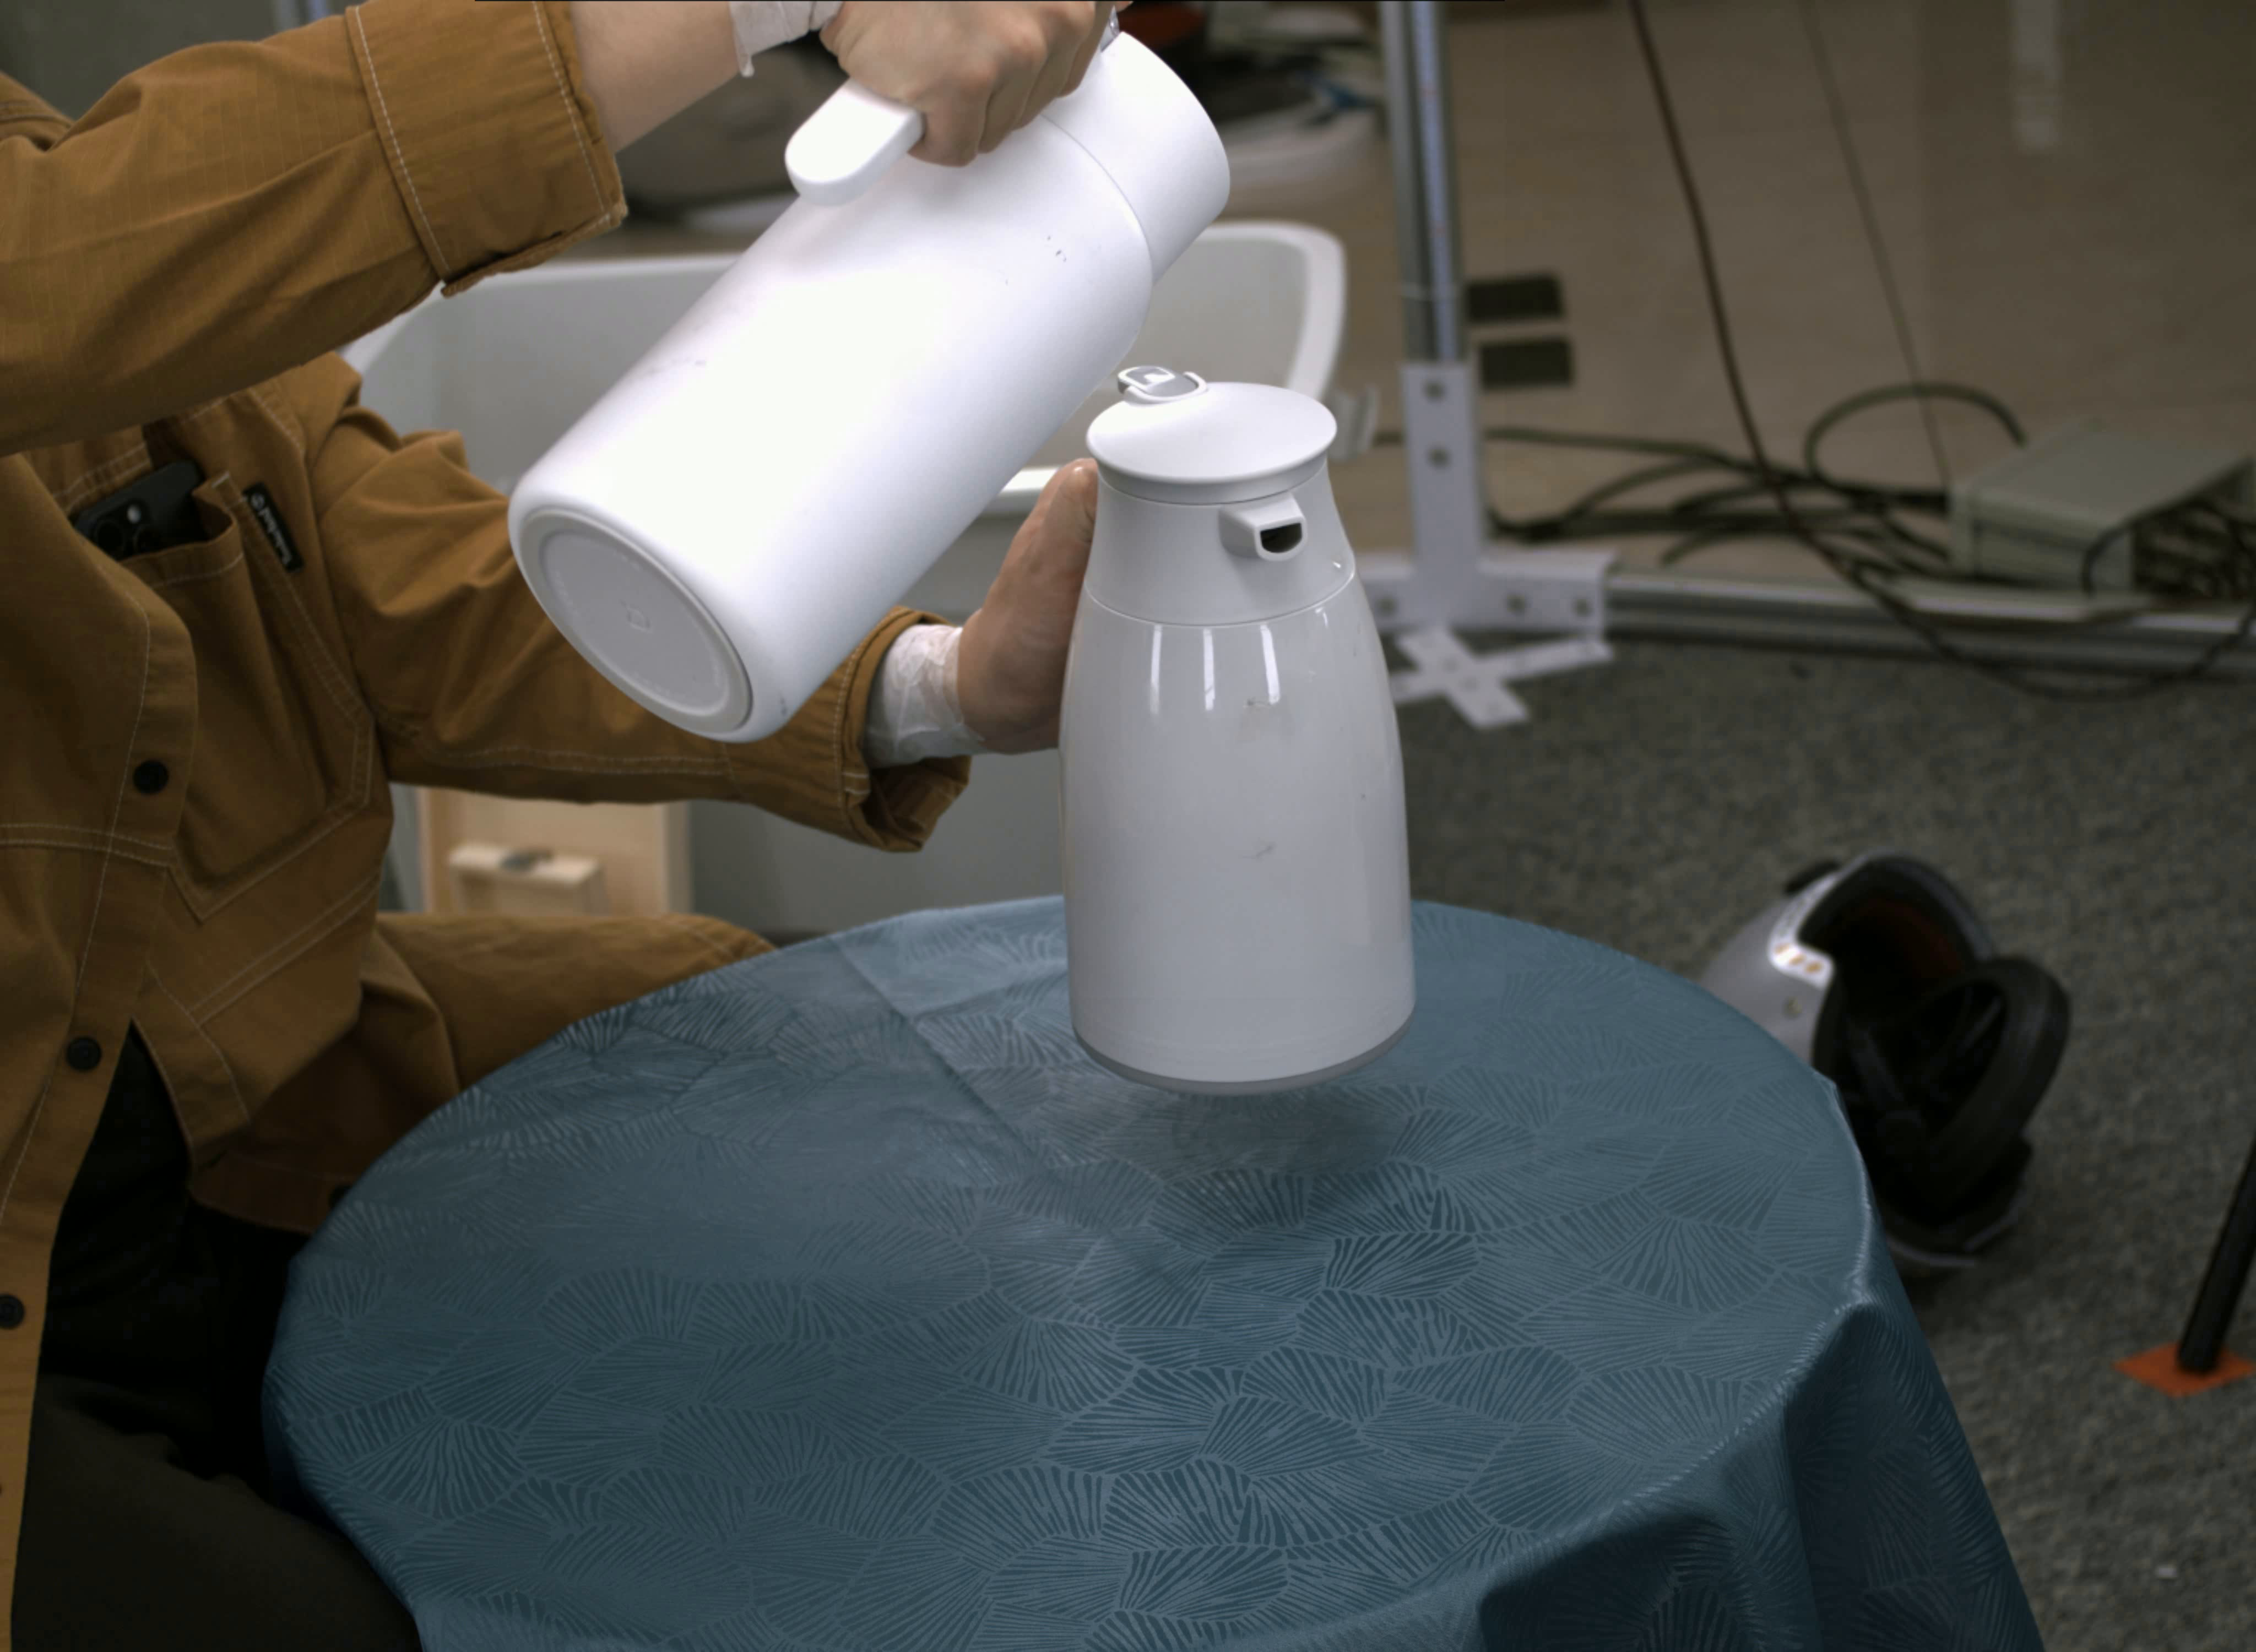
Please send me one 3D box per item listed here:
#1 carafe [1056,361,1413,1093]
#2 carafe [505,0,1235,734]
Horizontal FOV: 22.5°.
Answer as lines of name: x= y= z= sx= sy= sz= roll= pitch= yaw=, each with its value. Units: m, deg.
carafe: x=0.028 y=-0.047 z=2.113 sx=0.132 sy=0.253 sz=0.165 roll=-14 pitch=28 yaw=-19
carafe: x=-0.084 y=-0.168 z=1.880 sx=0.123 sy=0.176 sz=0.266 roll=31 pitch=63 yaw=28
